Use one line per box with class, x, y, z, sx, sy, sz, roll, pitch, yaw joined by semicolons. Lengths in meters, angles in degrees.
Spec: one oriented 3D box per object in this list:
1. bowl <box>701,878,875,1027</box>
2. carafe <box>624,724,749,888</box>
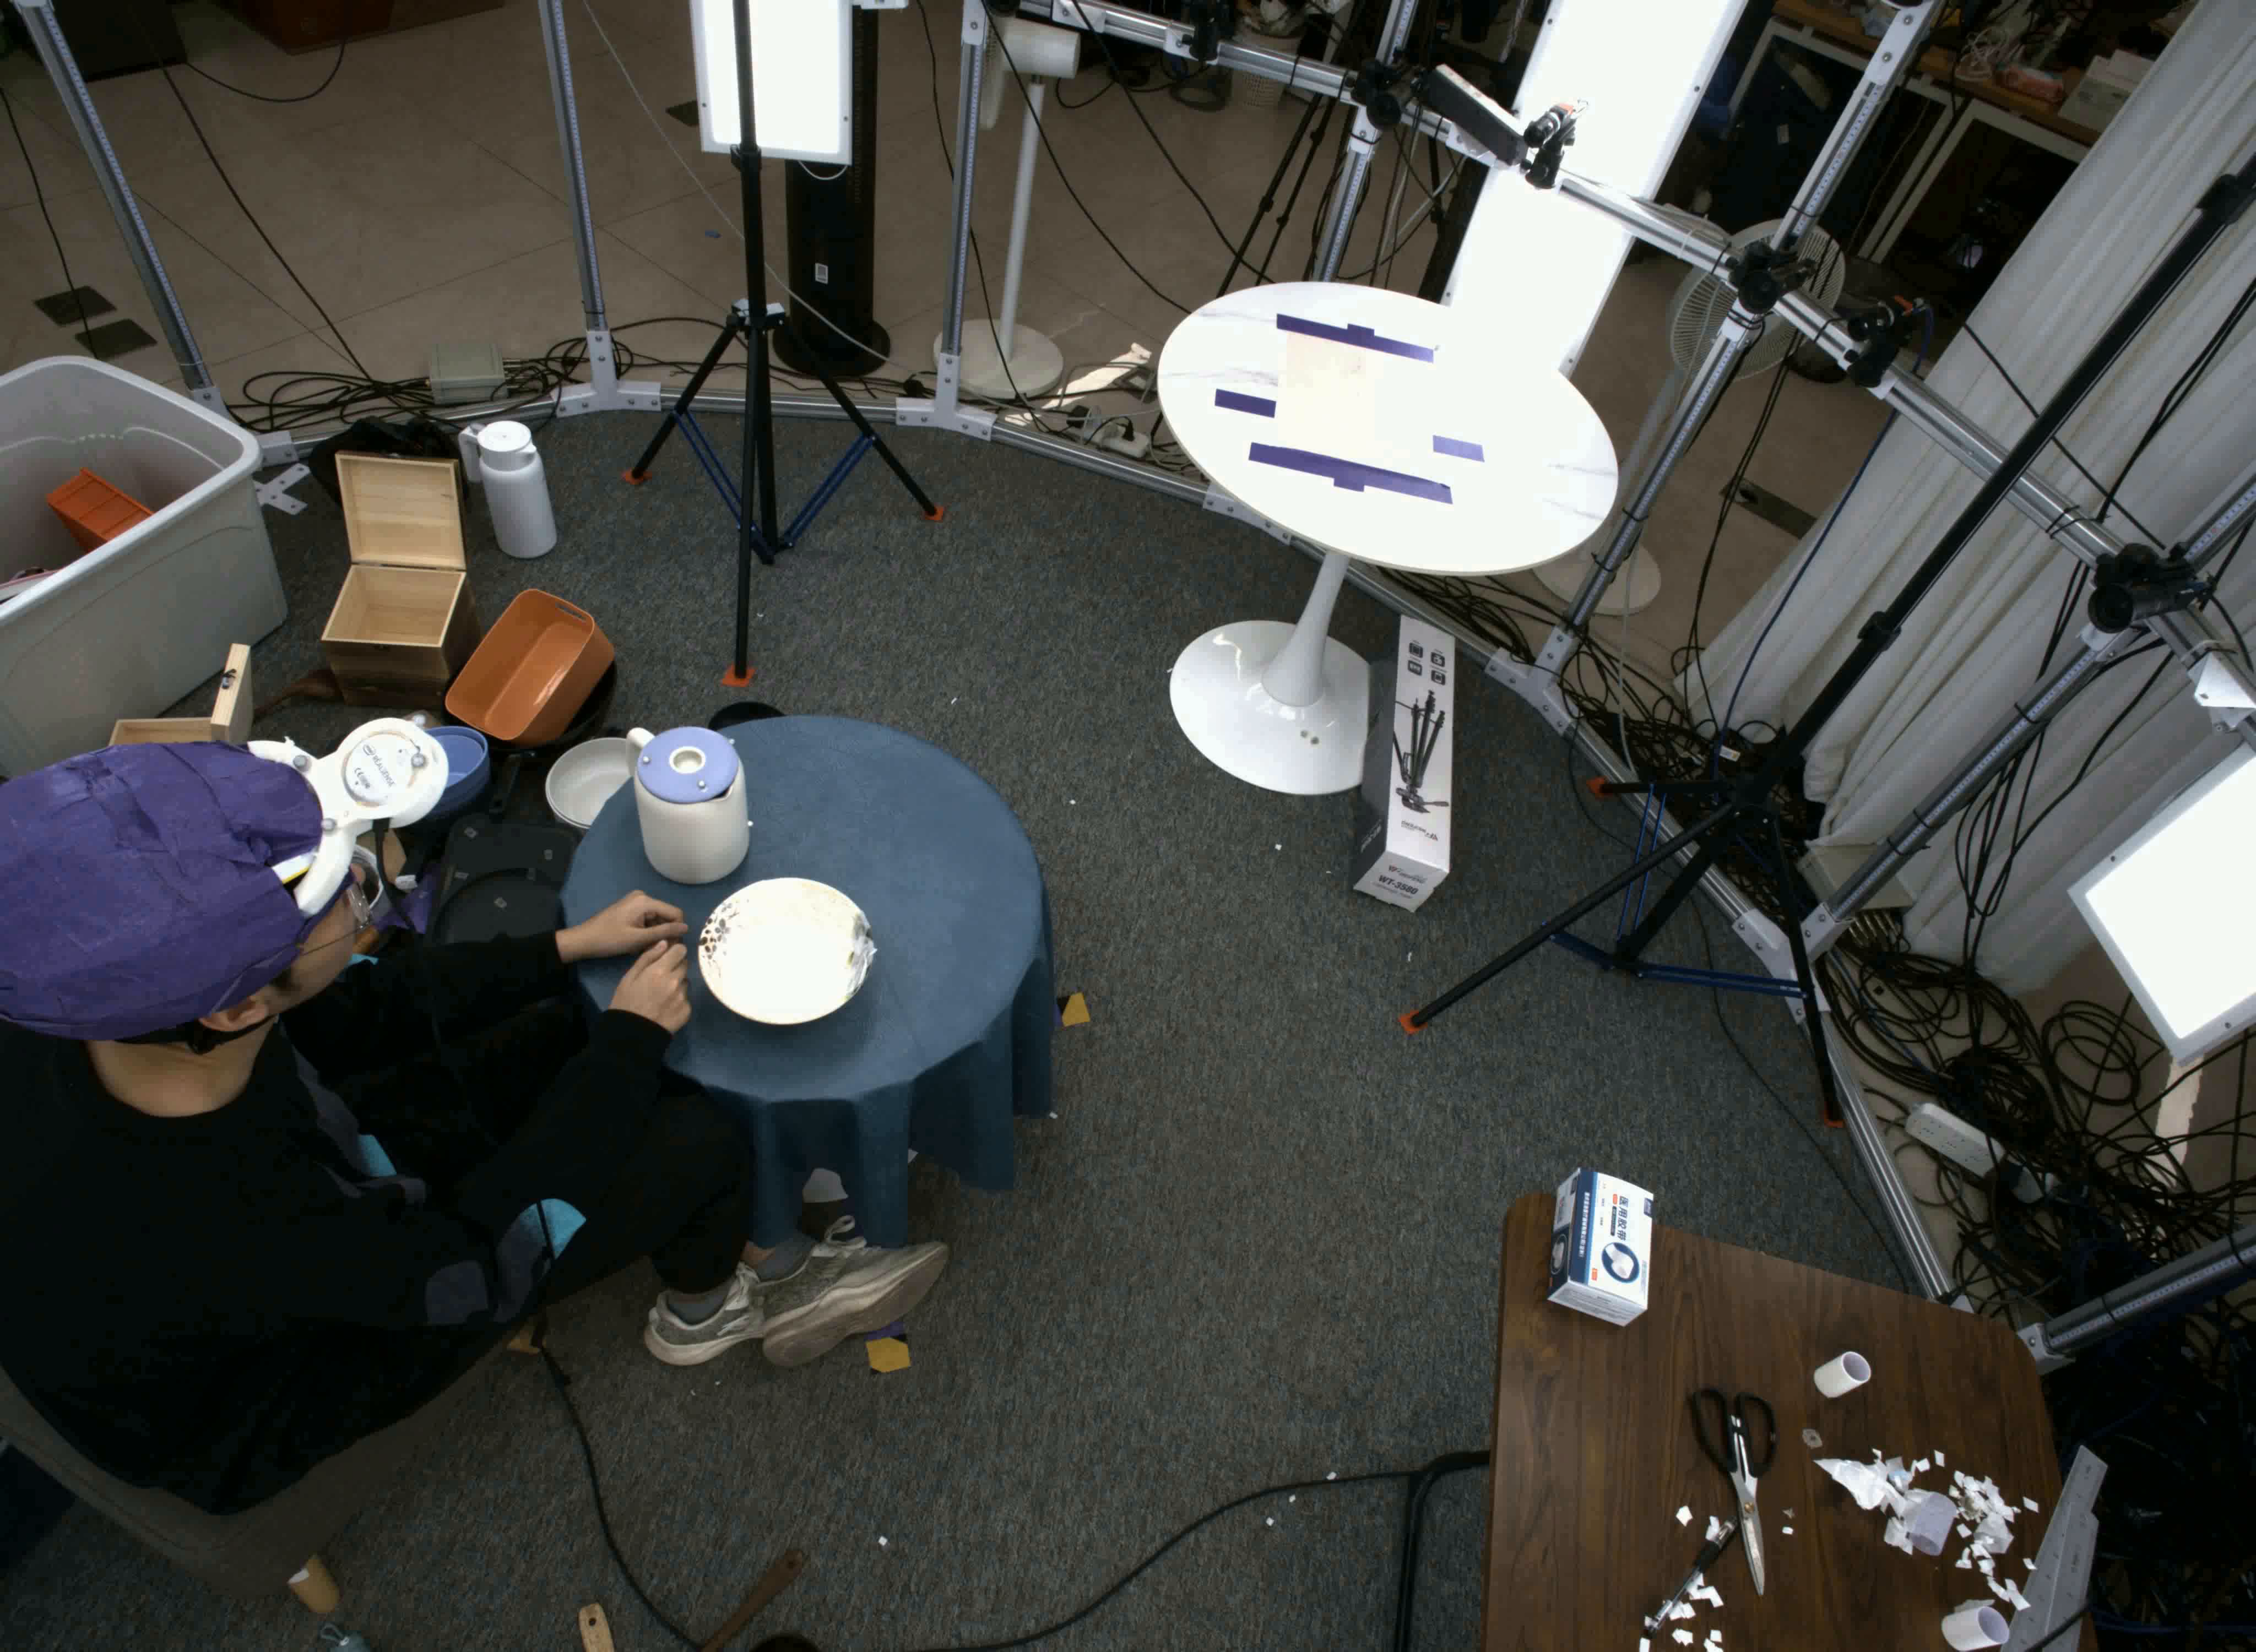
bowl;-0.407;0.166;1.565;0.203;0.079;0.200;6;54;-7
carafe;-0.563;-0.039;1.612;0.187;0.187;0.132;33;52;15
